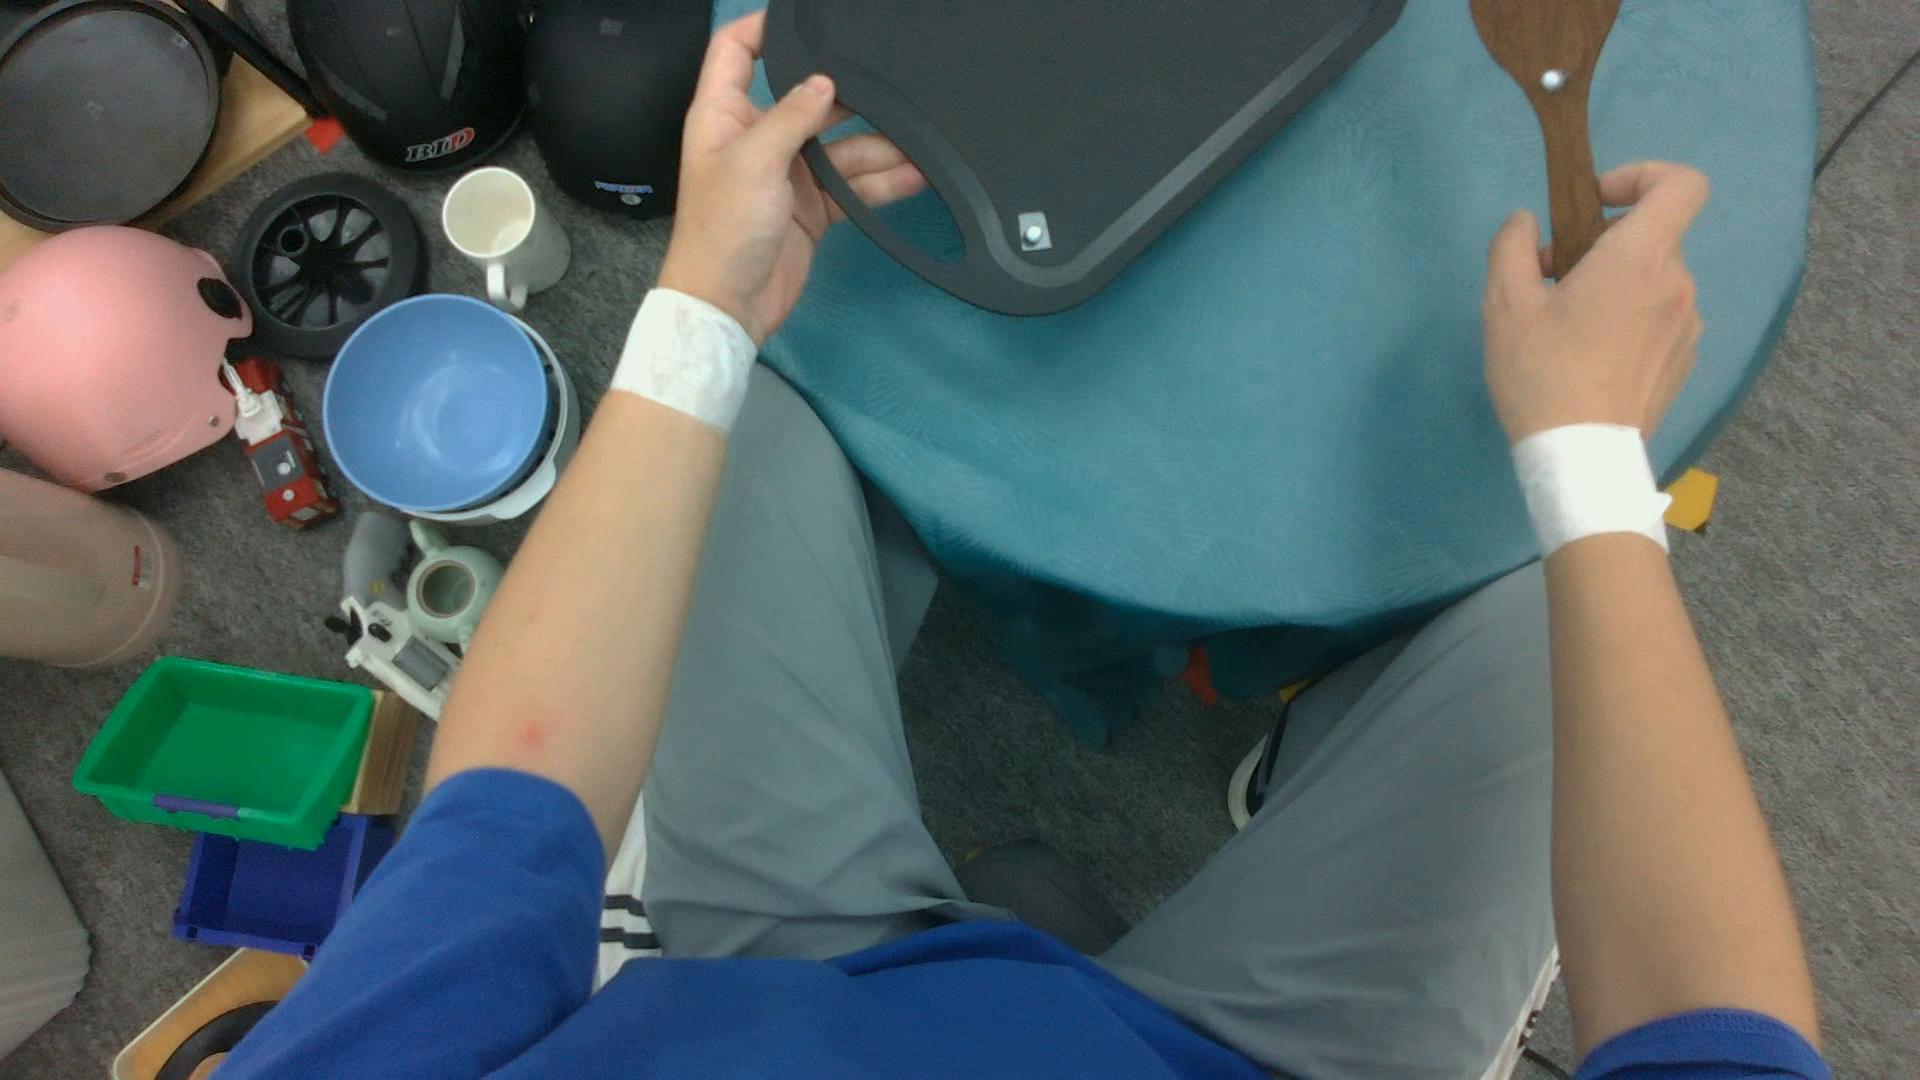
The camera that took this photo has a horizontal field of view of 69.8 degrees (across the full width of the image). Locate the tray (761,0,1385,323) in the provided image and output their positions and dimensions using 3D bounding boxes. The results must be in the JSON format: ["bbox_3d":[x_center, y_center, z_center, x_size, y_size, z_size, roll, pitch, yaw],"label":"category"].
[{"bbox_3d":[0.061,-0.258,0.696,0.326,0.010,0.211,-43,90,-14],"label":"tray"}]

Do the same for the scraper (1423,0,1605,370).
[{"bbox_3d":[0.276,-0.185,0.660,0.075,0.011,0.211,-14,80,38],"label":"scraper"}]
